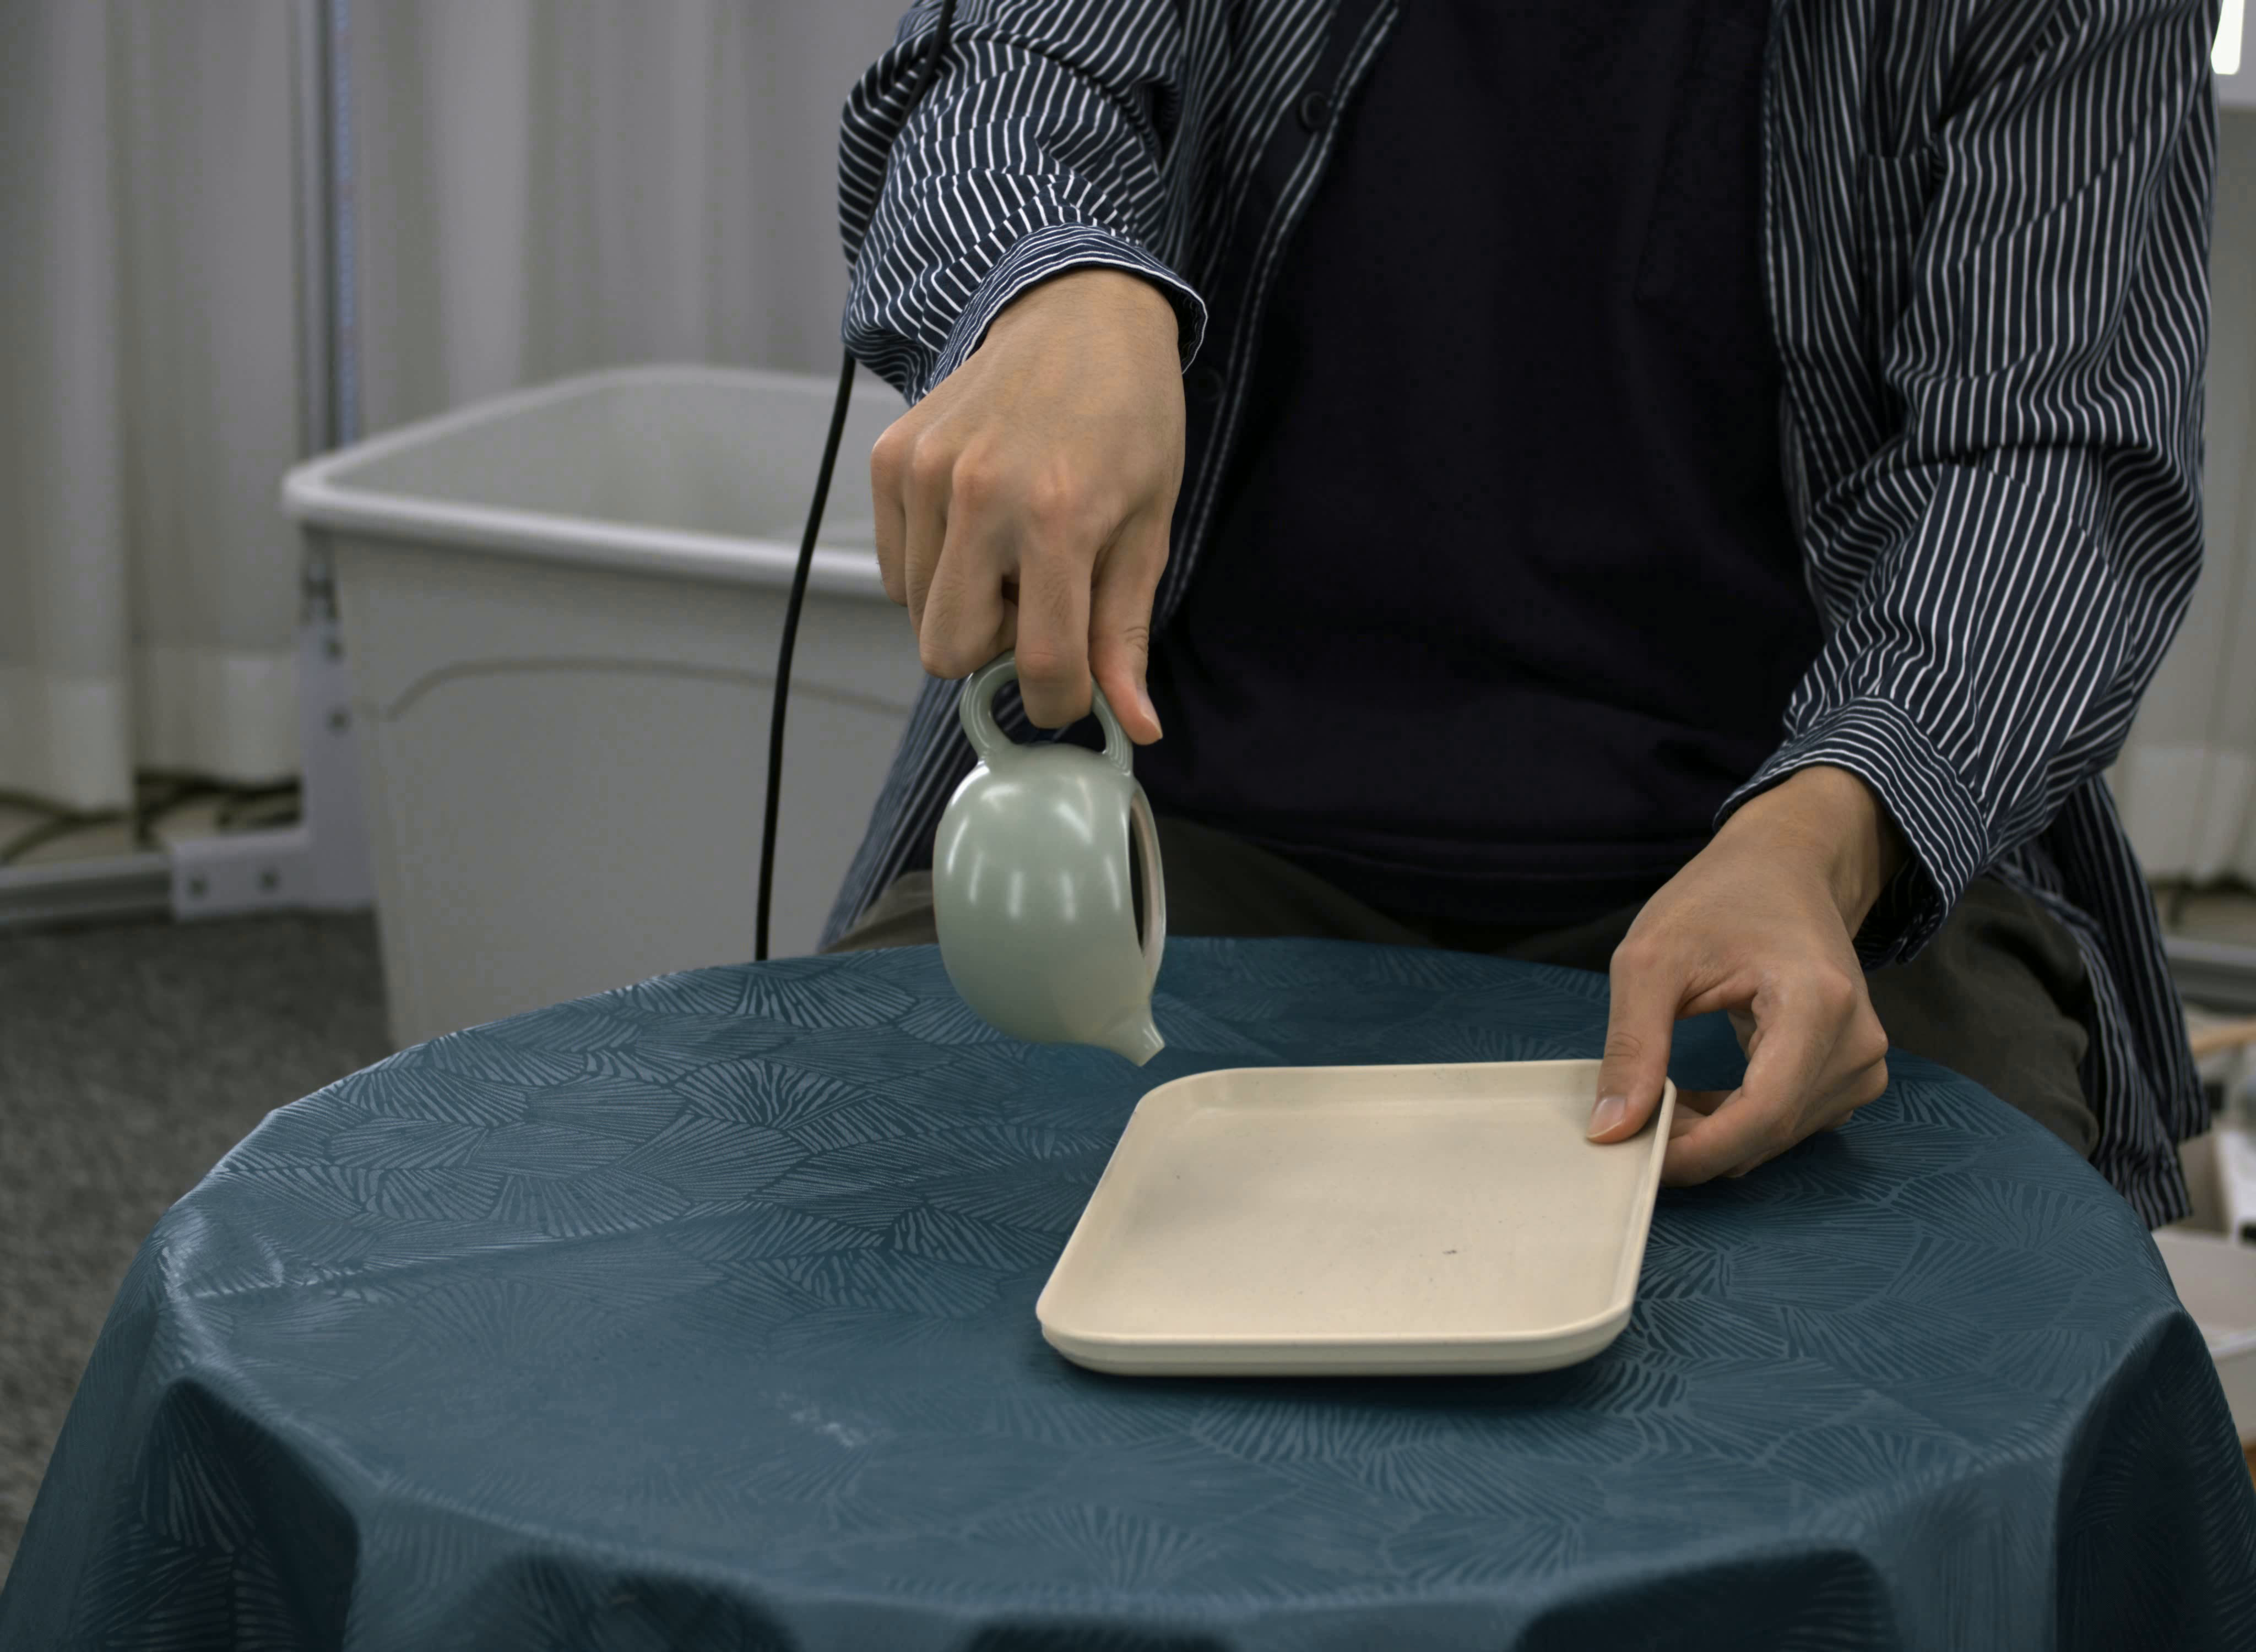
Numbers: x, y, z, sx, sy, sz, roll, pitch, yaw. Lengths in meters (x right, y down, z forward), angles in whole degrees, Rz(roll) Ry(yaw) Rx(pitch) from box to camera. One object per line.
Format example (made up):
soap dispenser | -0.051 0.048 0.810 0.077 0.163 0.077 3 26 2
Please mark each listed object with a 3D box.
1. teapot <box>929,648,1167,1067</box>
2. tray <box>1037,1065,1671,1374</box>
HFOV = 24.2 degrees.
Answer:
teapot | -0.025 0.011 1.576 0.060 0.129 0.092 -6 2 12
tray | 0.072 0.116 1.565 0.170 0.017 0.239 0 15 10
